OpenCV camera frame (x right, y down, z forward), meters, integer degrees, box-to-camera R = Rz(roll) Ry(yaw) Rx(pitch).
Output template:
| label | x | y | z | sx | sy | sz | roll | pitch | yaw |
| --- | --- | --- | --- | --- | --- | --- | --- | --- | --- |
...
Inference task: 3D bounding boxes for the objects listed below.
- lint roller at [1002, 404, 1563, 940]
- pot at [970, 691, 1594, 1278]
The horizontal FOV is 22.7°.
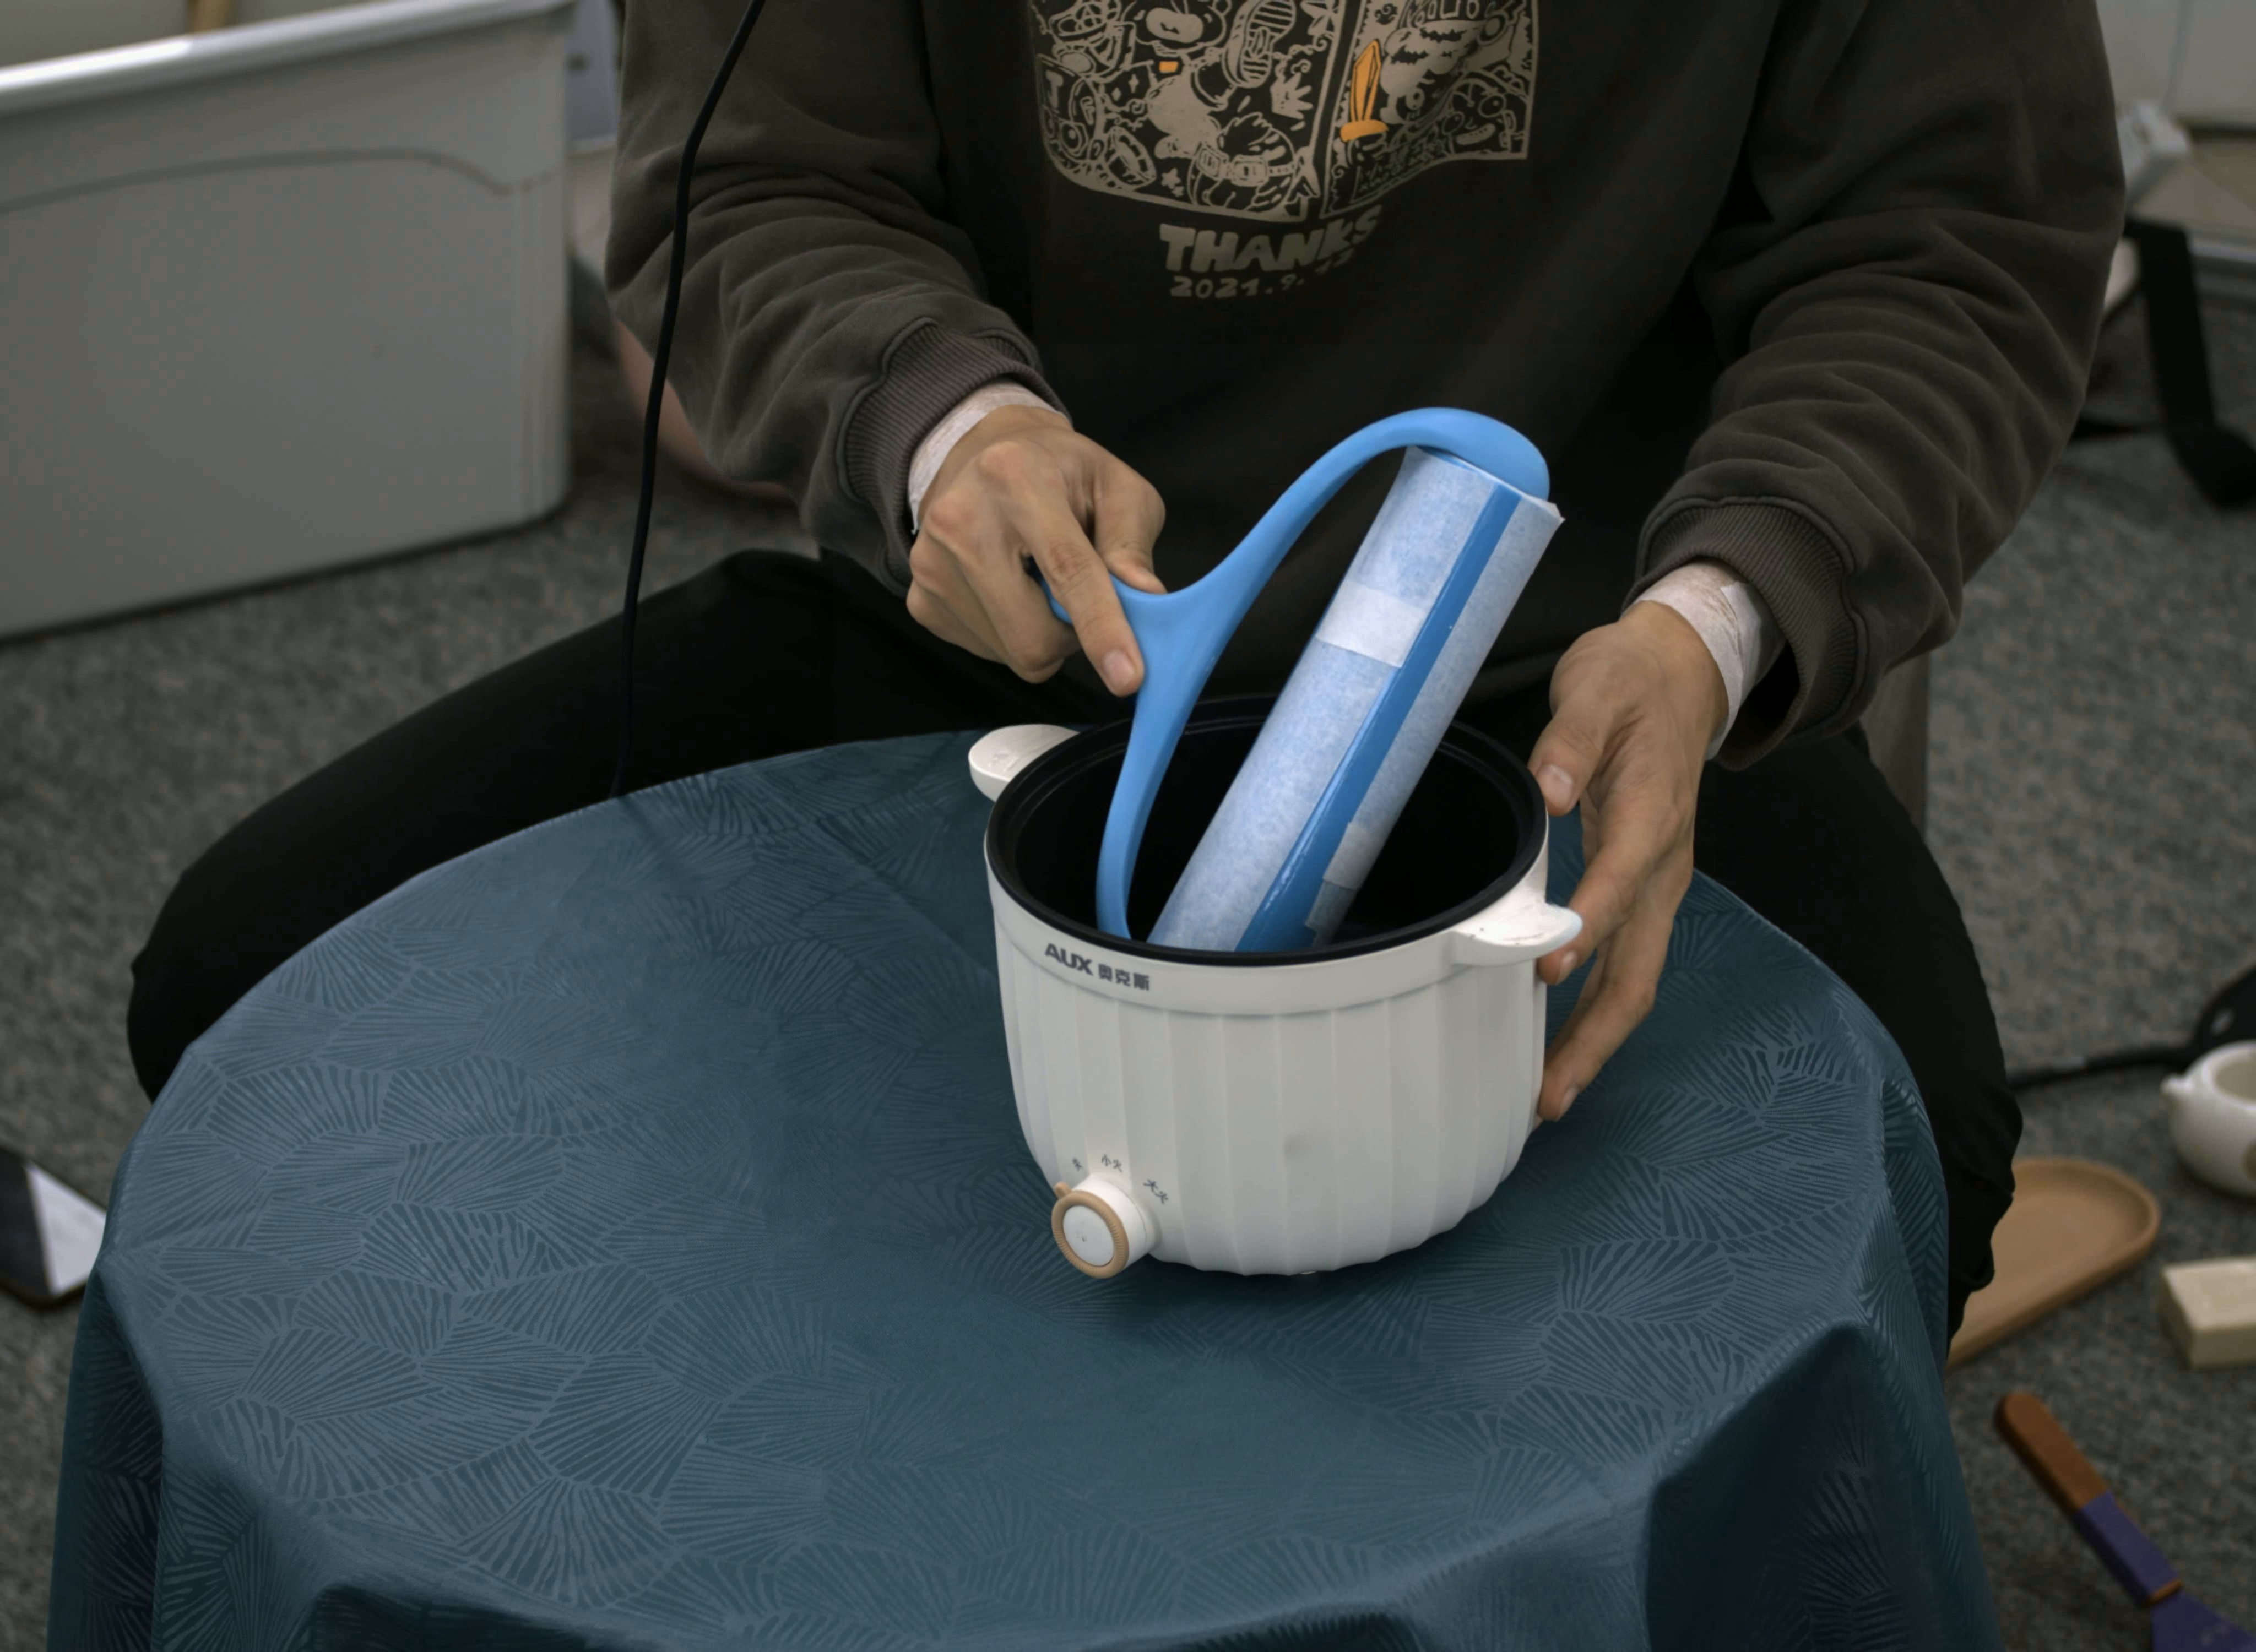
| label | x | y | z | sx | sy | sz | roll | pitch | yaw |
| --- | --- | --- | --- | --- | --- | --- | --- | --- | --- |
| lint roller | 0.023 | -0.054 | 1.847 | 0.180 | 0.229 | 0.068 | 26 | 0 | 22 |
| pot | 0.046 | 0.058 | 1.829 | 0.239 | 0.141 | 0.193 | 16 | 30 | 35 |
